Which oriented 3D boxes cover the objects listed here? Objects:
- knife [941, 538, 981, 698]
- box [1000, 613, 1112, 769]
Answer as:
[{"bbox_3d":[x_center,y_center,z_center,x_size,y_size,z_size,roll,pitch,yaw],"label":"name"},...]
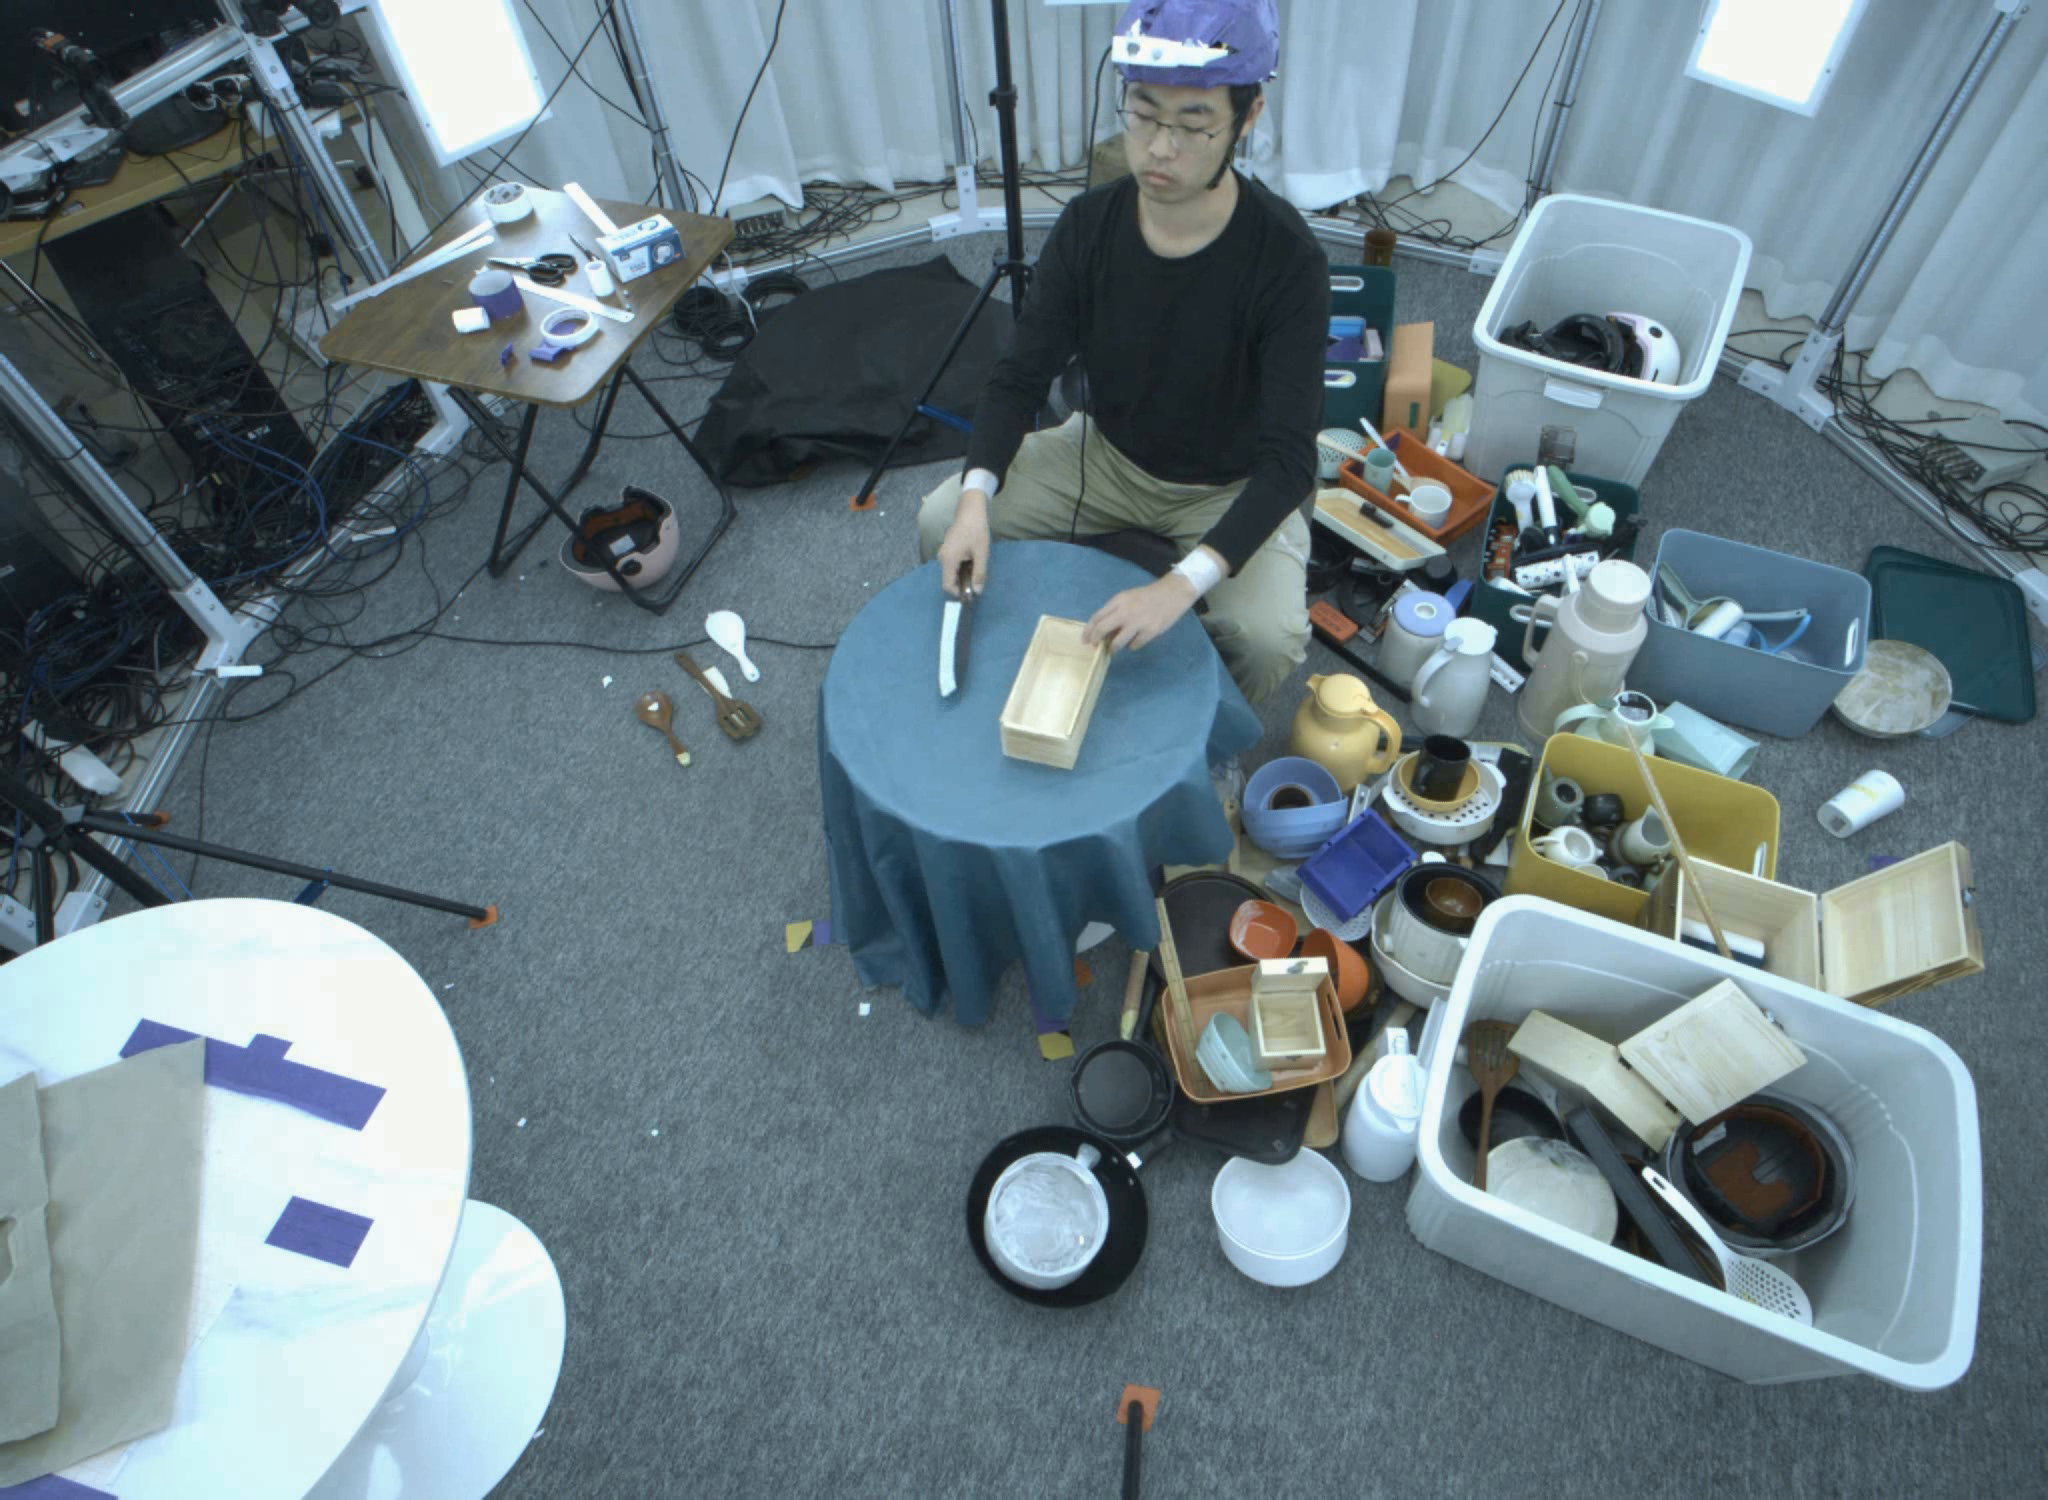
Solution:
[{"bbox_3d":[-0.098,-0.206,1.885,0.050,0.020,0.287,6,65,3],"label":"knife"},{"bbox_3d":[0.050,-0.088,1.800,0.106,0.081,0.211,13,57,11],"label":"box"}]
